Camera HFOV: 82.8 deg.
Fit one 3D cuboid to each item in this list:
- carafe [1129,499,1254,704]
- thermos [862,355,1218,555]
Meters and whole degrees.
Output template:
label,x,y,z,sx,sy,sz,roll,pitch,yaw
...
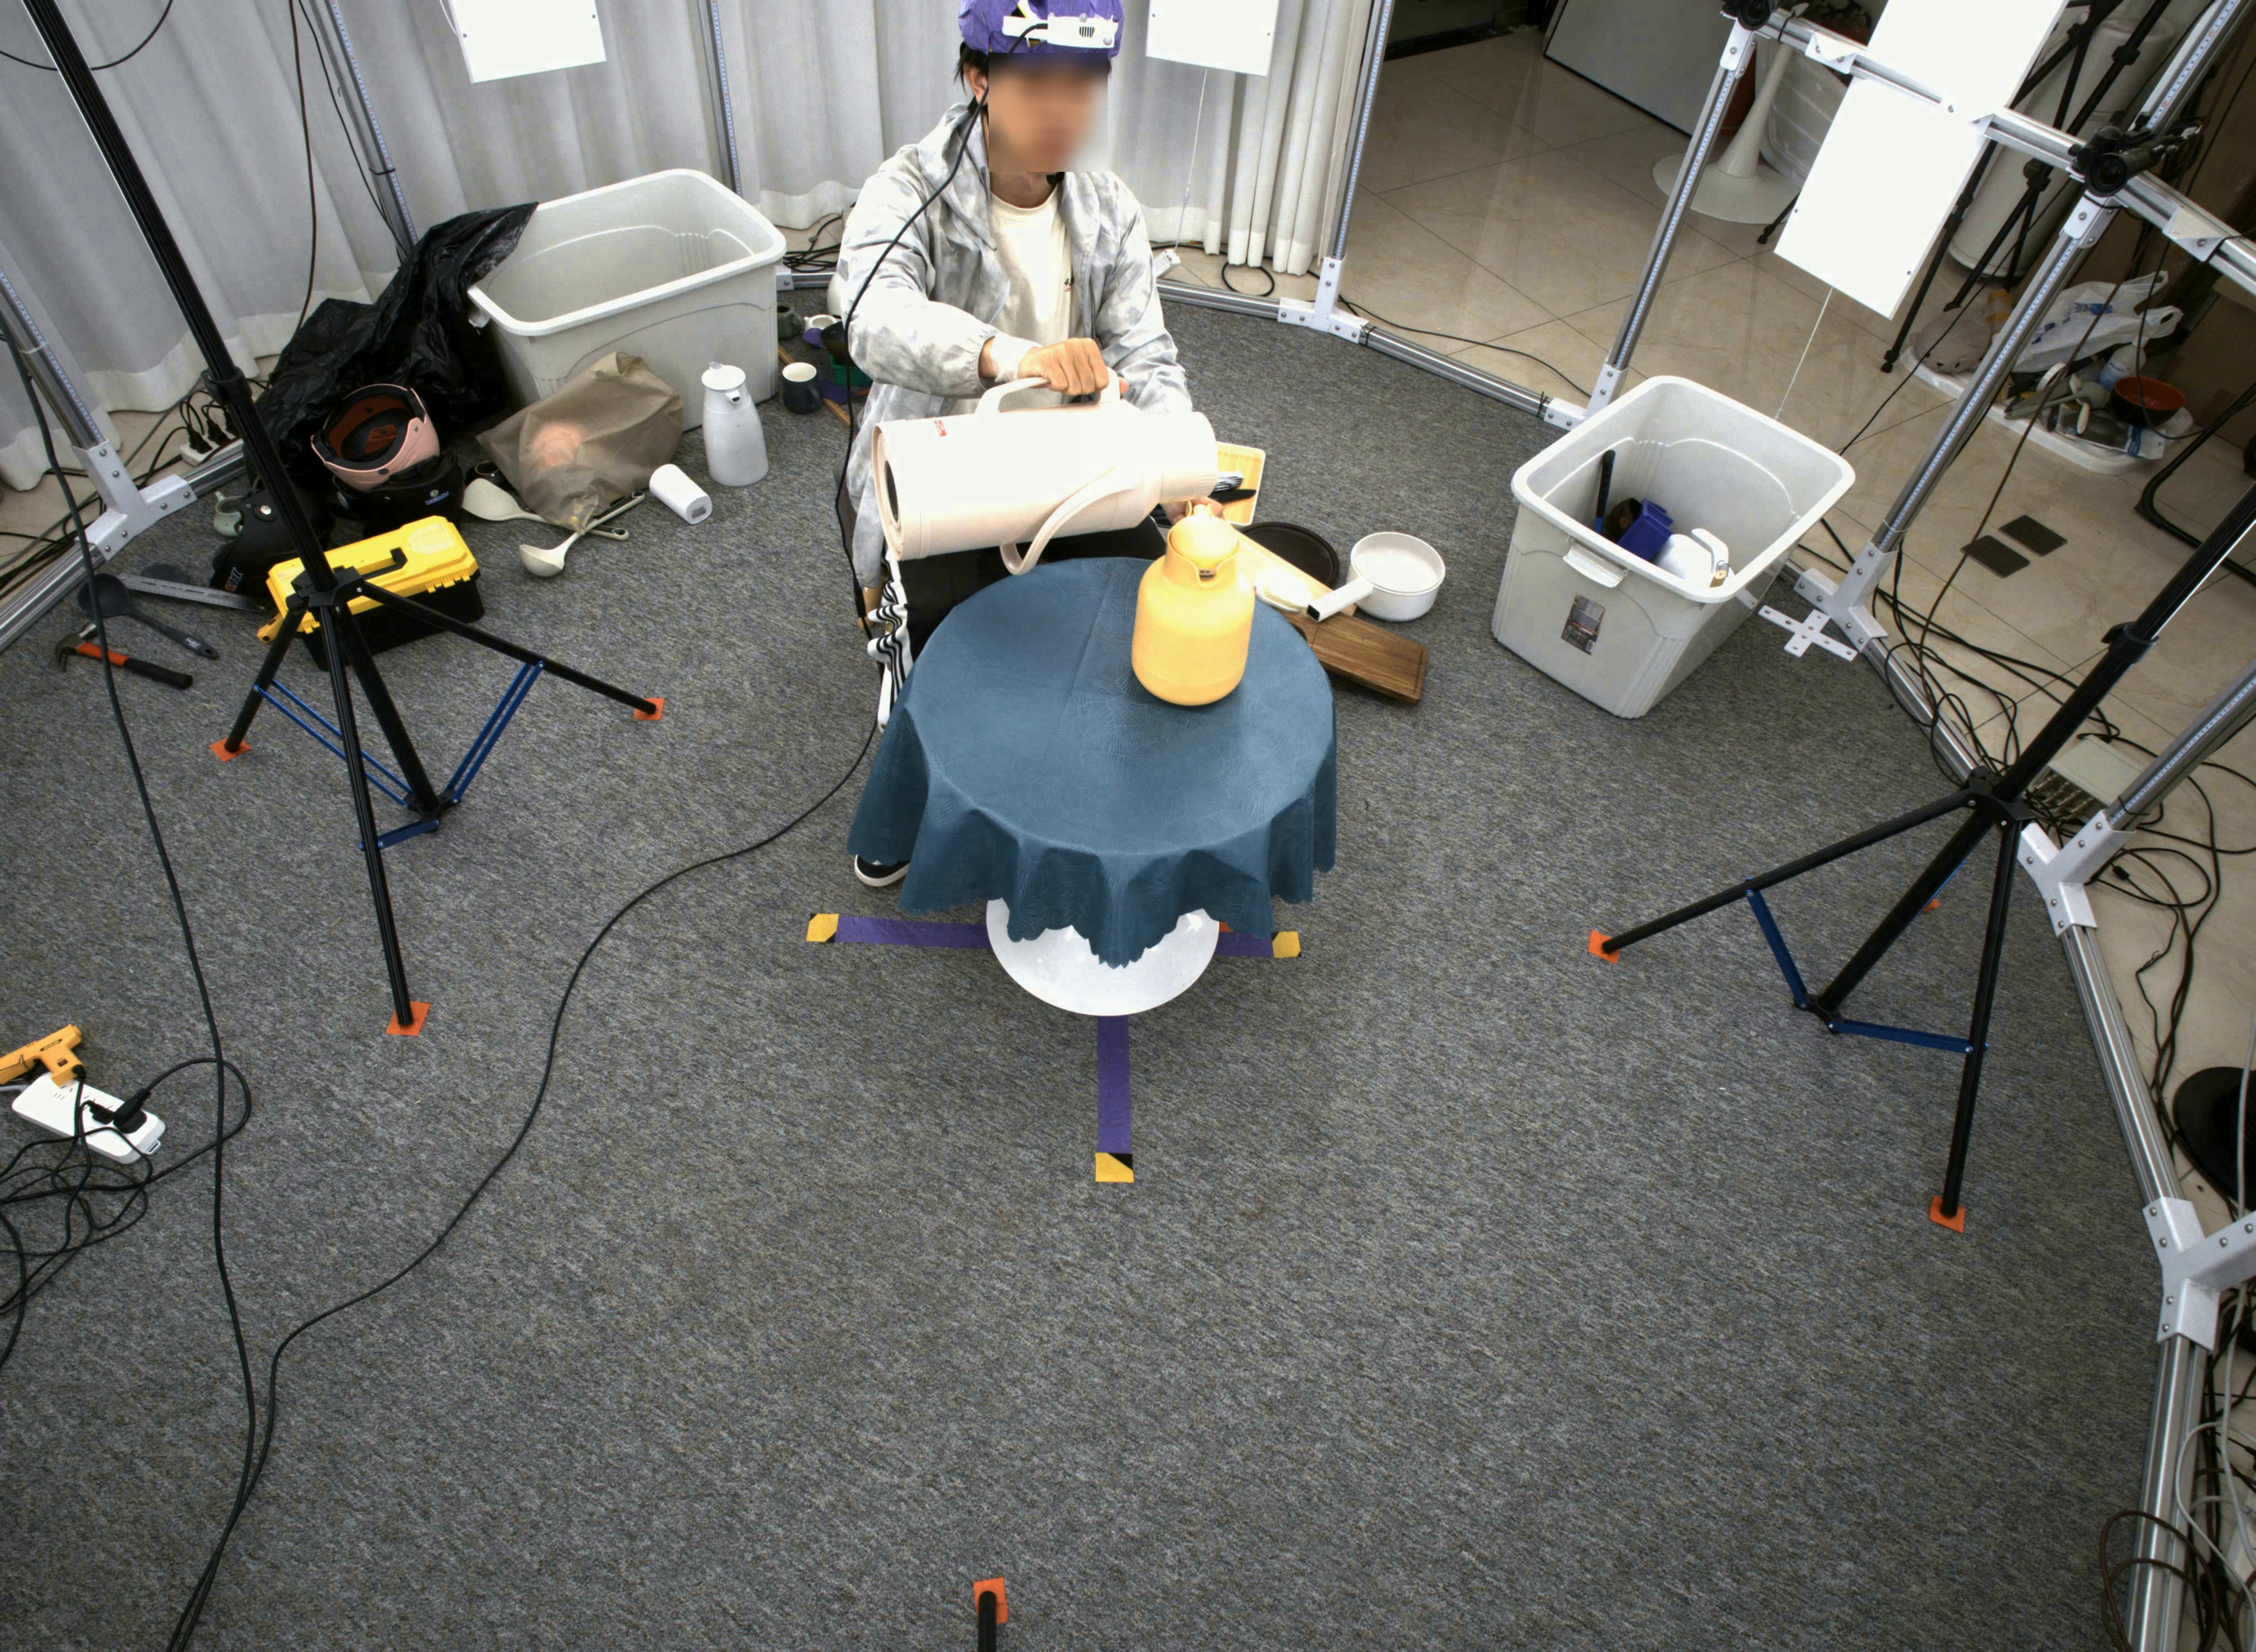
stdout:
label,x,y,z,sx,sy,sz,roll,pitch,yaw
carafe,0.092,-0.317,1.774,0.163,0.254,0.207,4,50,-4
thermos,-0.099,-0.441,1.535,0.406,0.203,0.178,-10,24,-15
